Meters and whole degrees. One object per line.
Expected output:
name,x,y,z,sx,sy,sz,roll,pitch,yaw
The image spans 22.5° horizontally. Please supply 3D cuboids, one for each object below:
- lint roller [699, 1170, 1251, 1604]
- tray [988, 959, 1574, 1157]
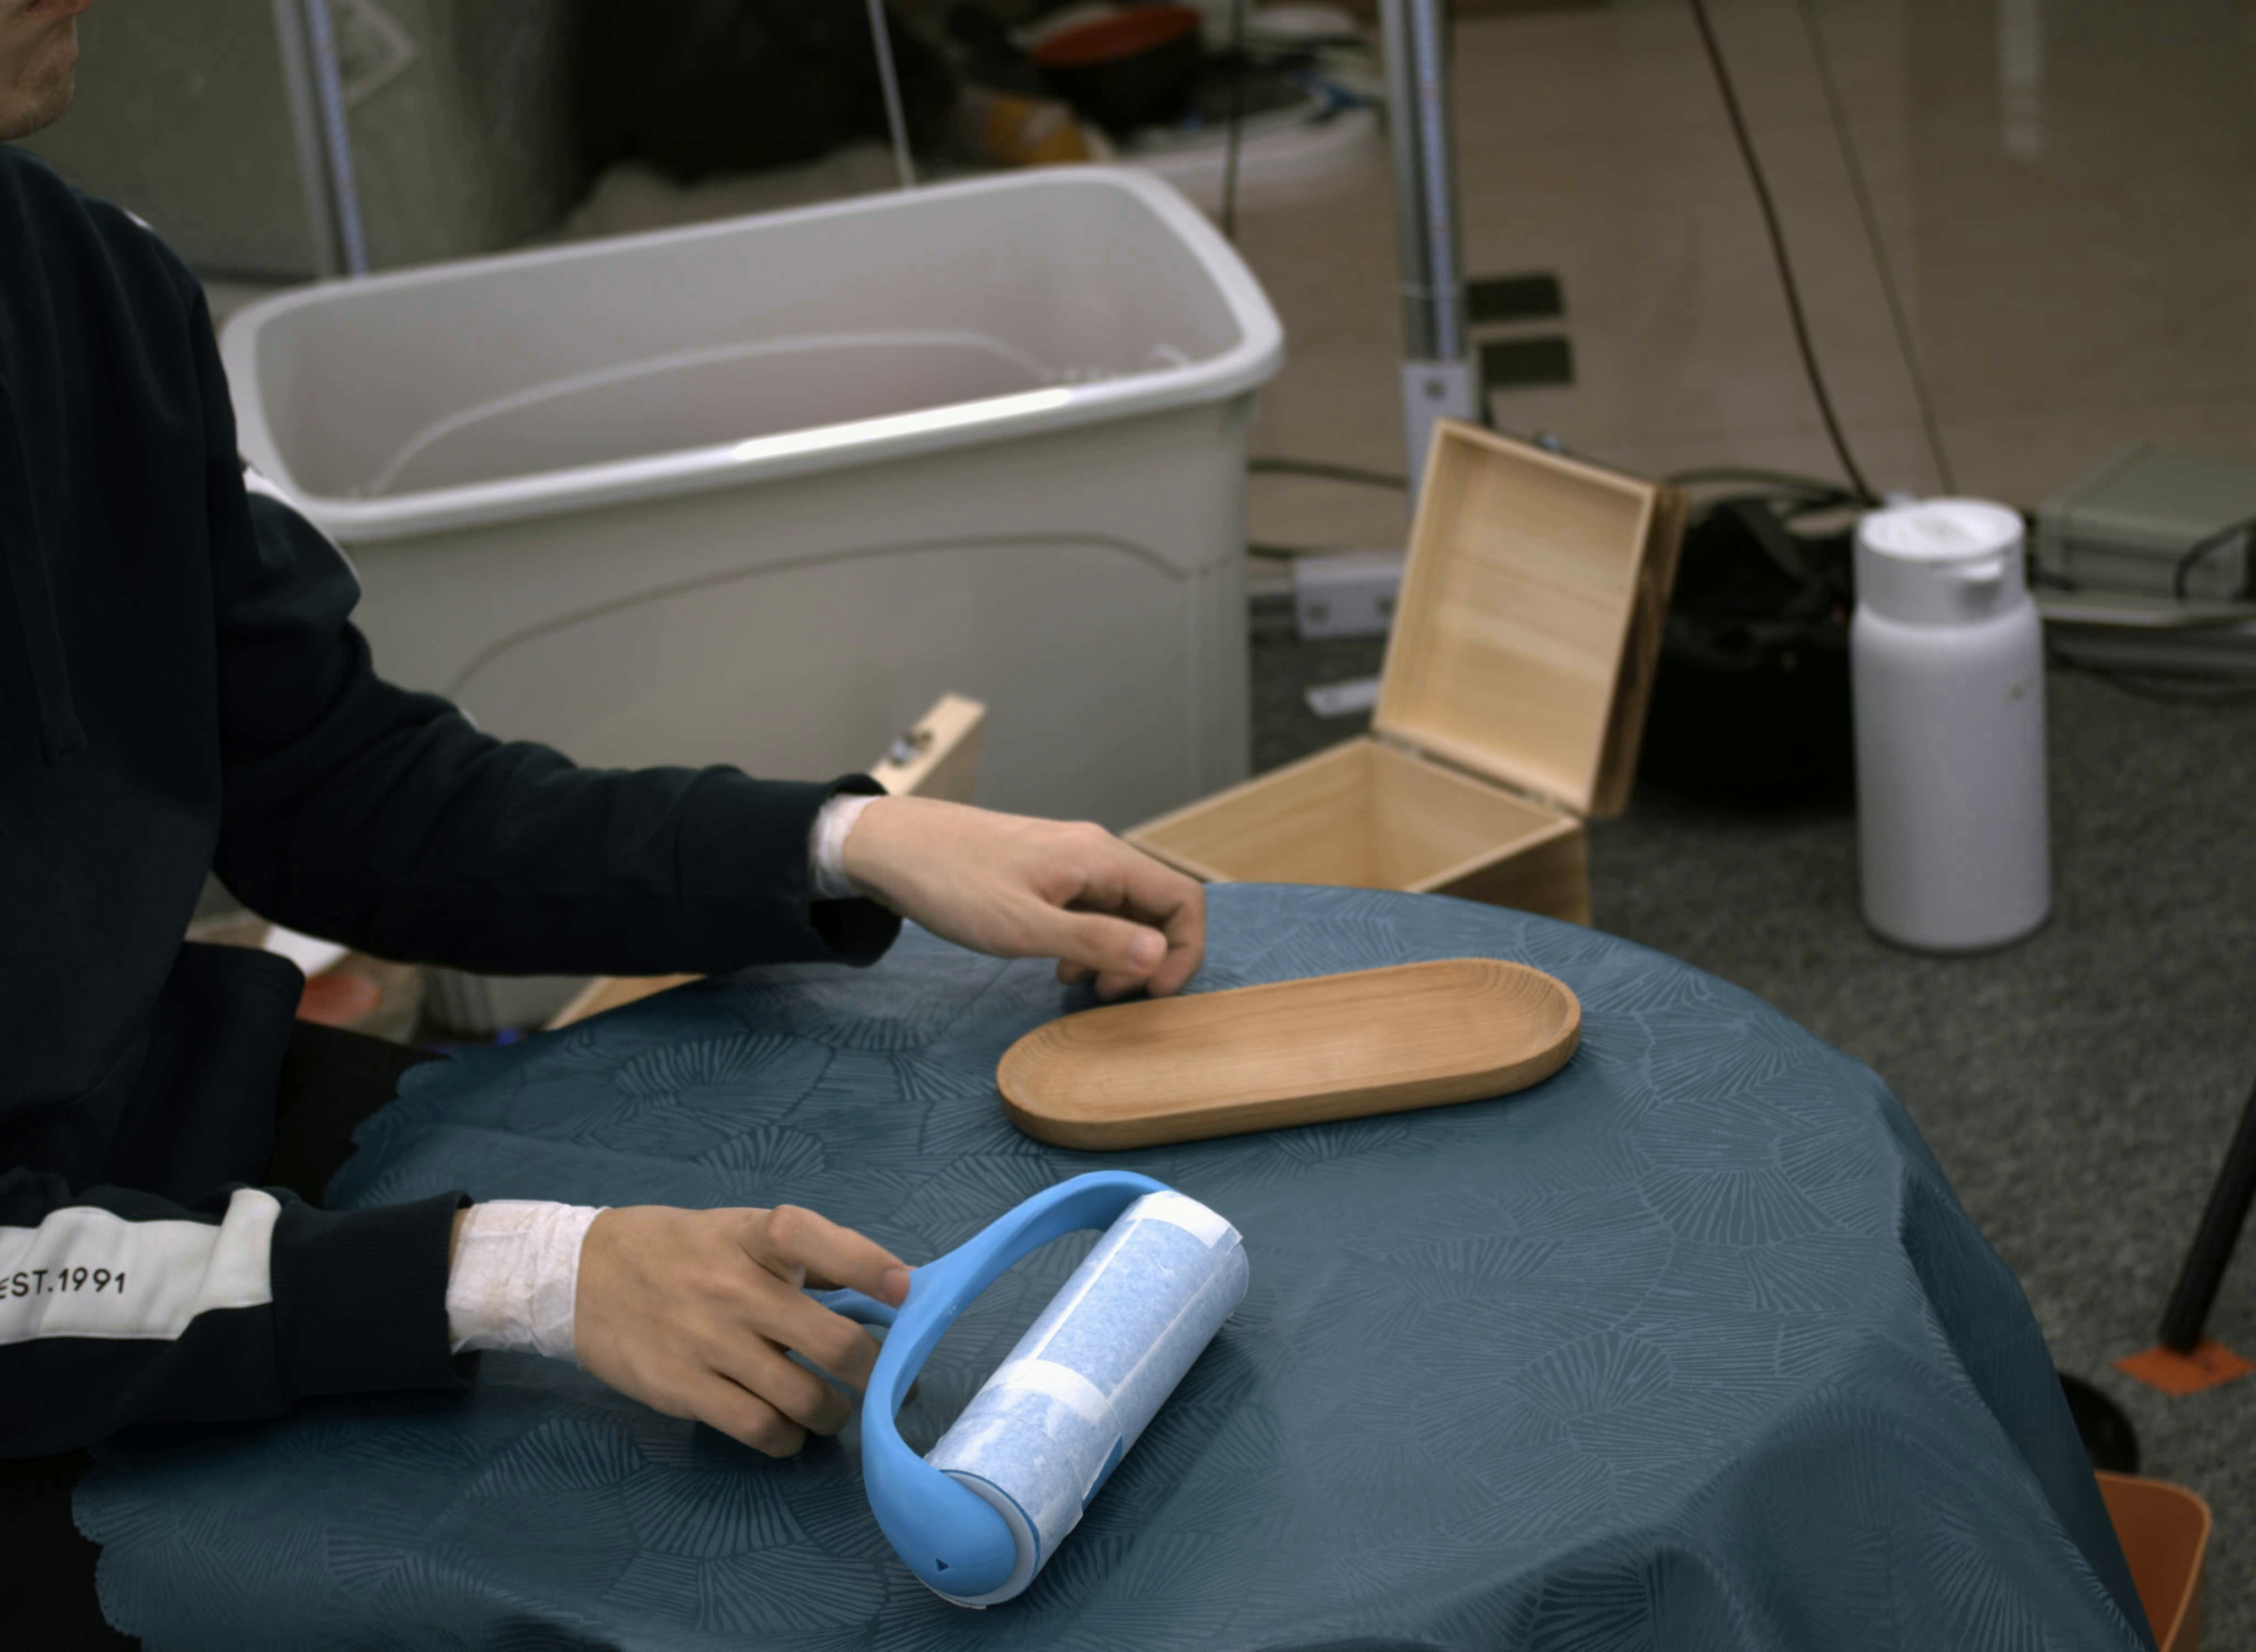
lint roller,-0.072,0.190,1.983,0.180,0.069,0.225,5,29,20
tray,0.060,0.091,2.213,0.231,0.020,0.100,-10,24,-3
